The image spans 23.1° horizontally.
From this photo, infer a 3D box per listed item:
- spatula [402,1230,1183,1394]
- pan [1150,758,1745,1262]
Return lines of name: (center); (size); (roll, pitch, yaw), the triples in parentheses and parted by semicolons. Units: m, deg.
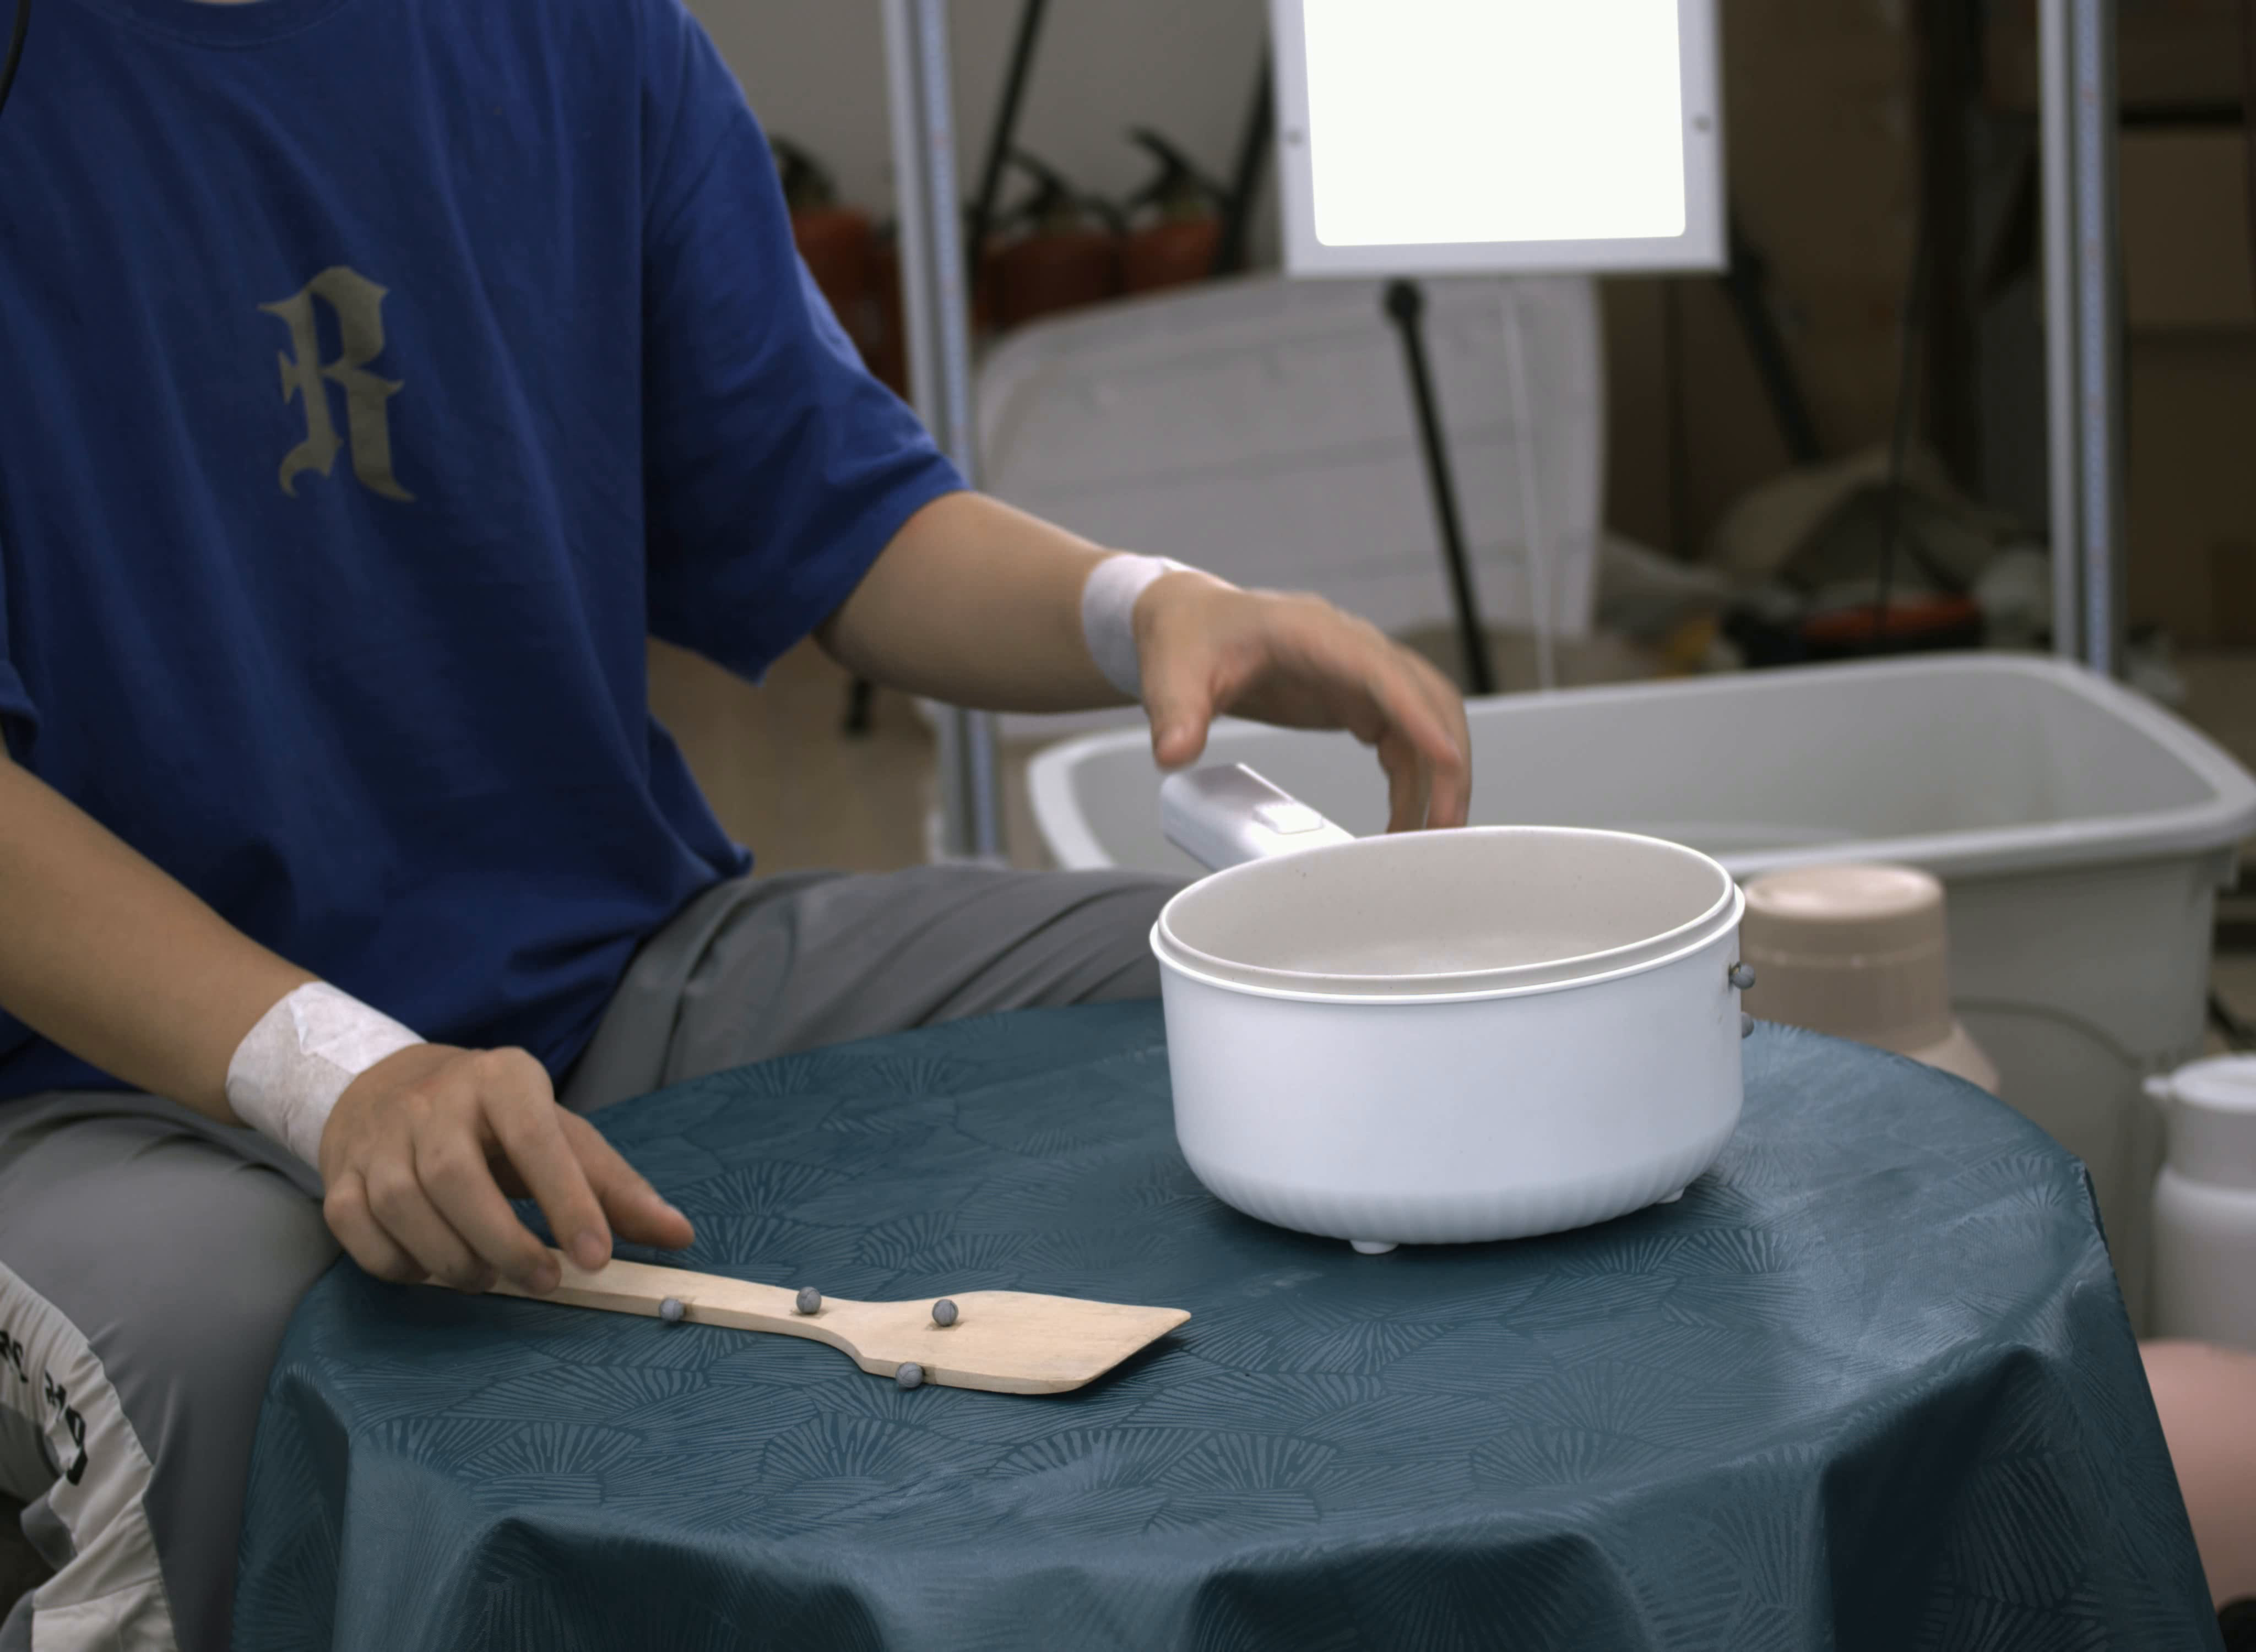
spatula: (-0.121, 0.156, 1.801); (0.299, 0.011, 0.070); (5, 18, 34)
pan: (0.088, 0.058, 1.936); (0.198, 0.102, 0.359); (-11, 15, -15)
